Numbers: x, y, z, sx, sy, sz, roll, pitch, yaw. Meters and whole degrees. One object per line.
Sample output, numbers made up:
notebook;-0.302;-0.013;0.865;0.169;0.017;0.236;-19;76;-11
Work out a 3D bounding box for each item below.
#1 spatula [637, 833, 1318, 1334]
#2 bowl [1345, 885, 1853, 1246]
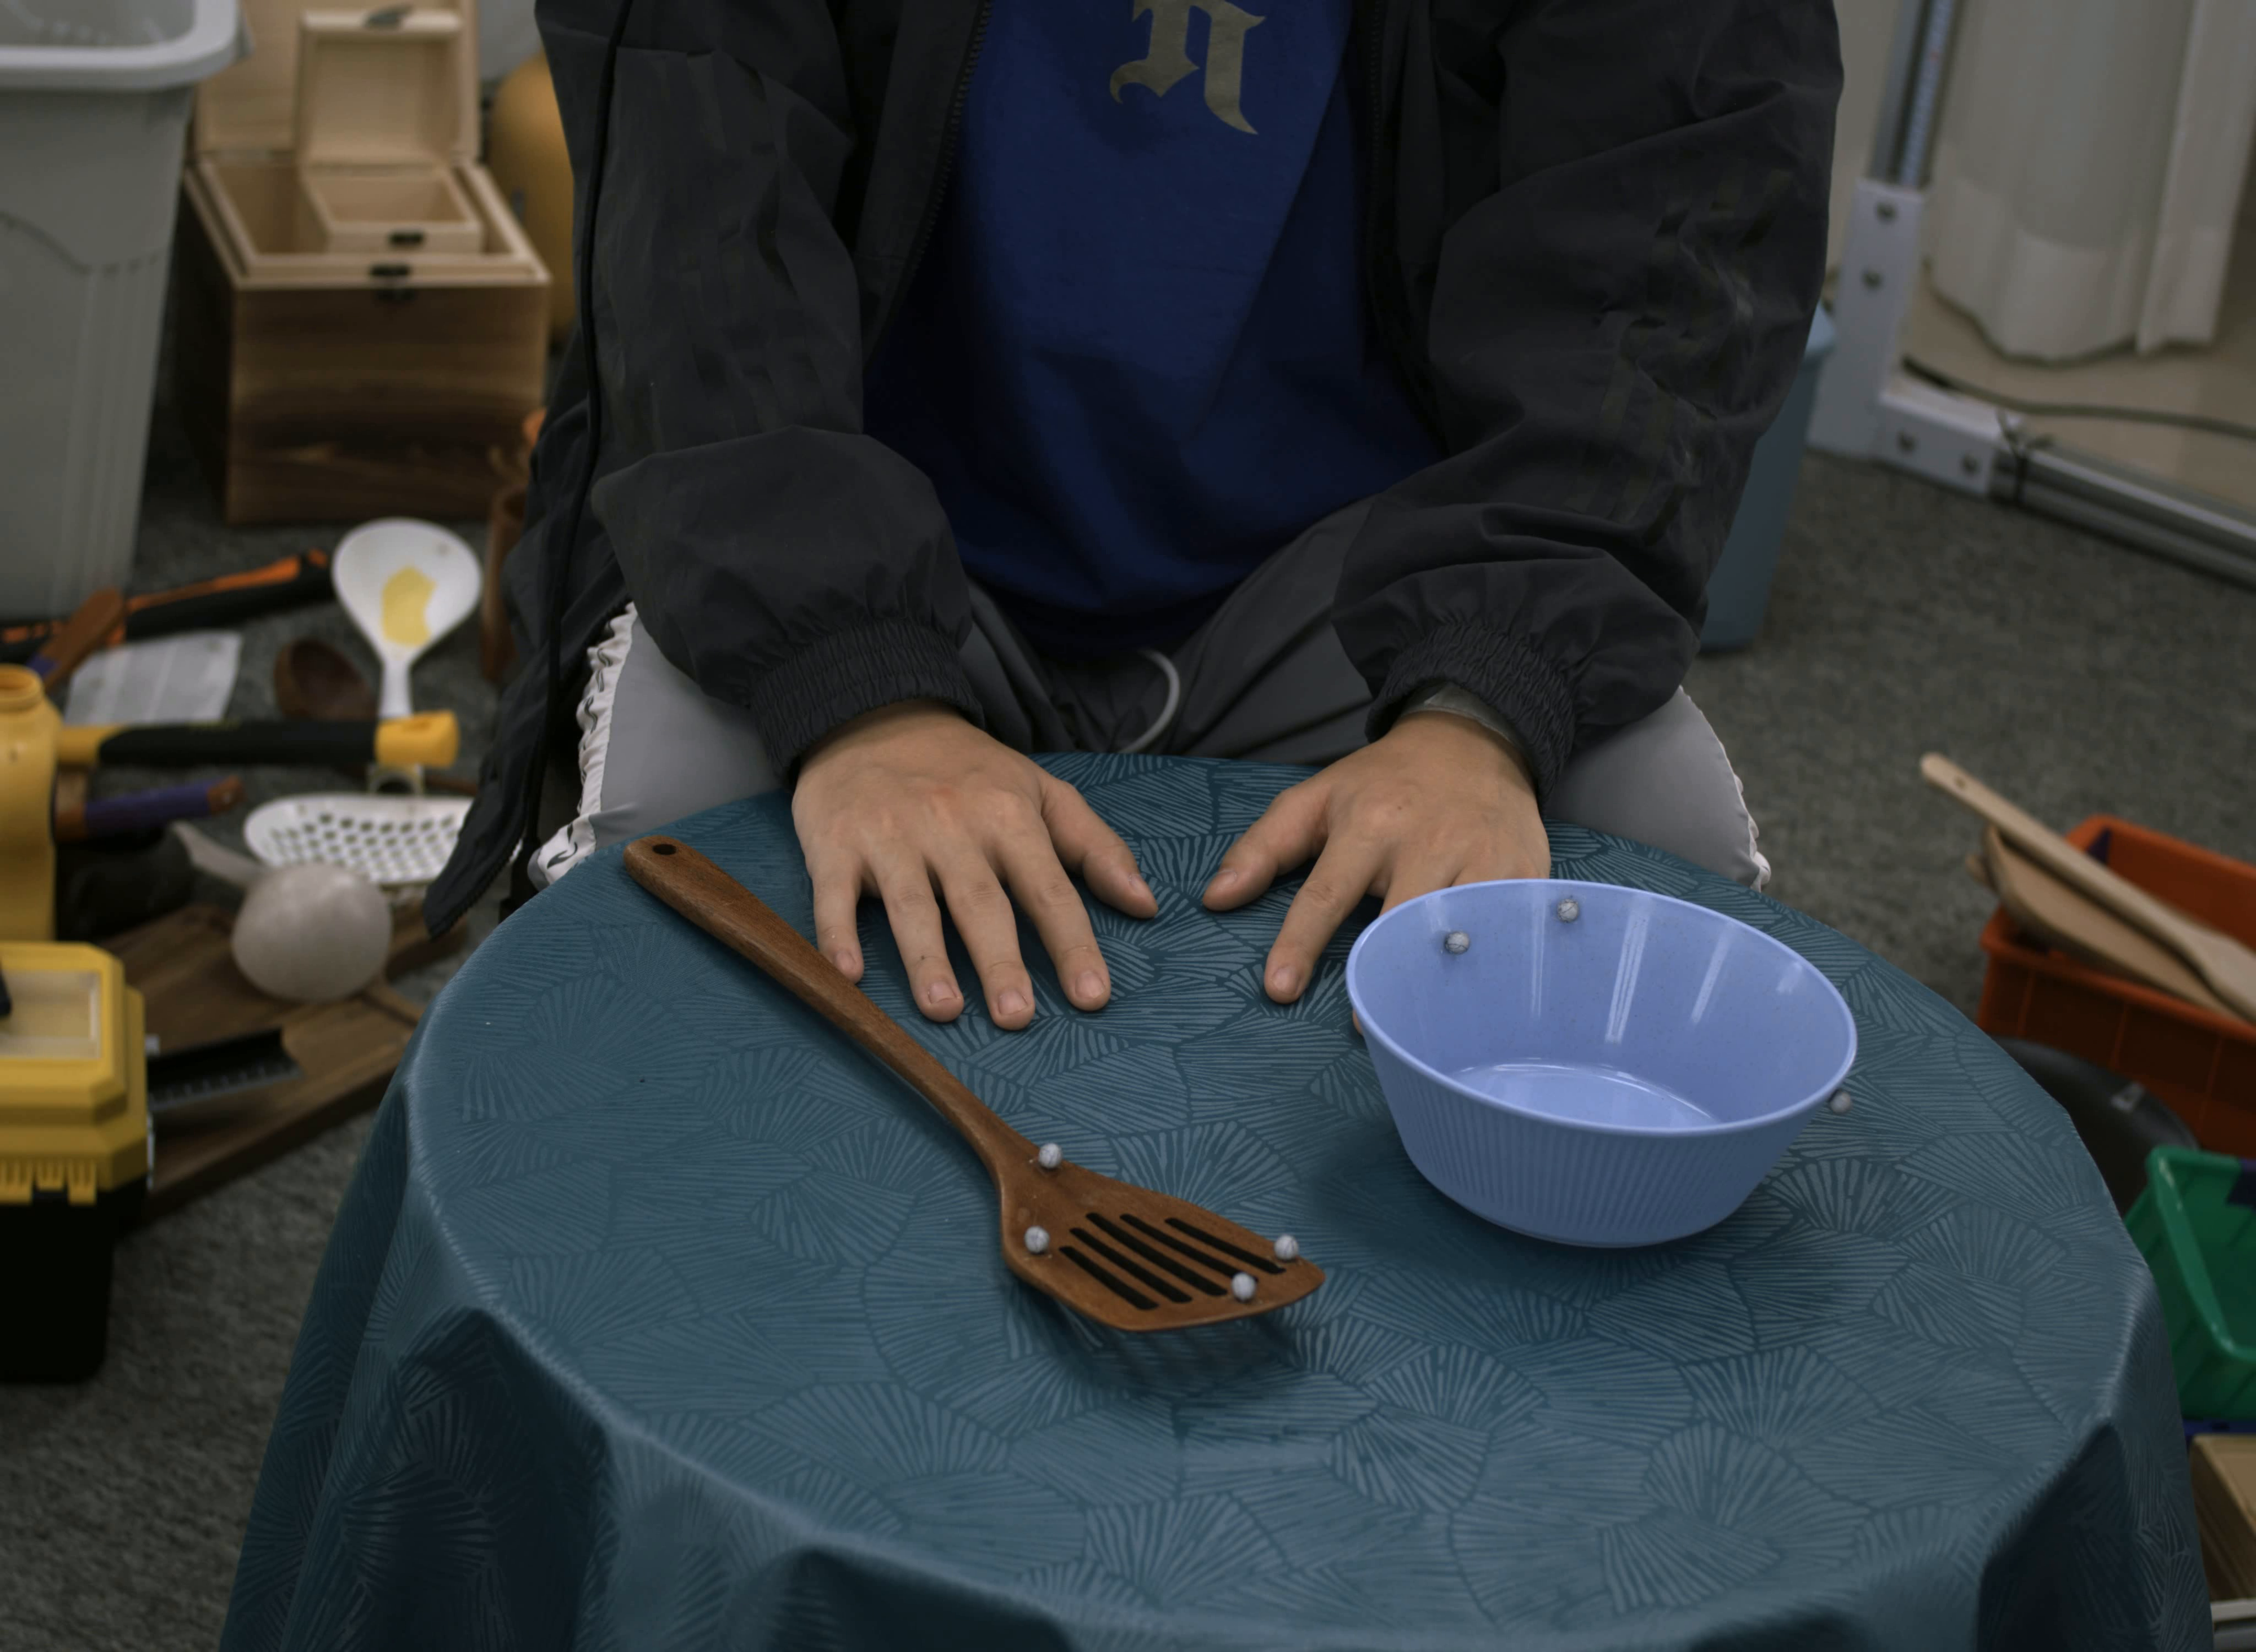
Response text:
spatula;-0.072;0.086;1.839;0.085;0.024;0.390;-11;30;-32
bowl;0.158;0.088;1.831;0.175;0.070;0.177;5;25;-3
